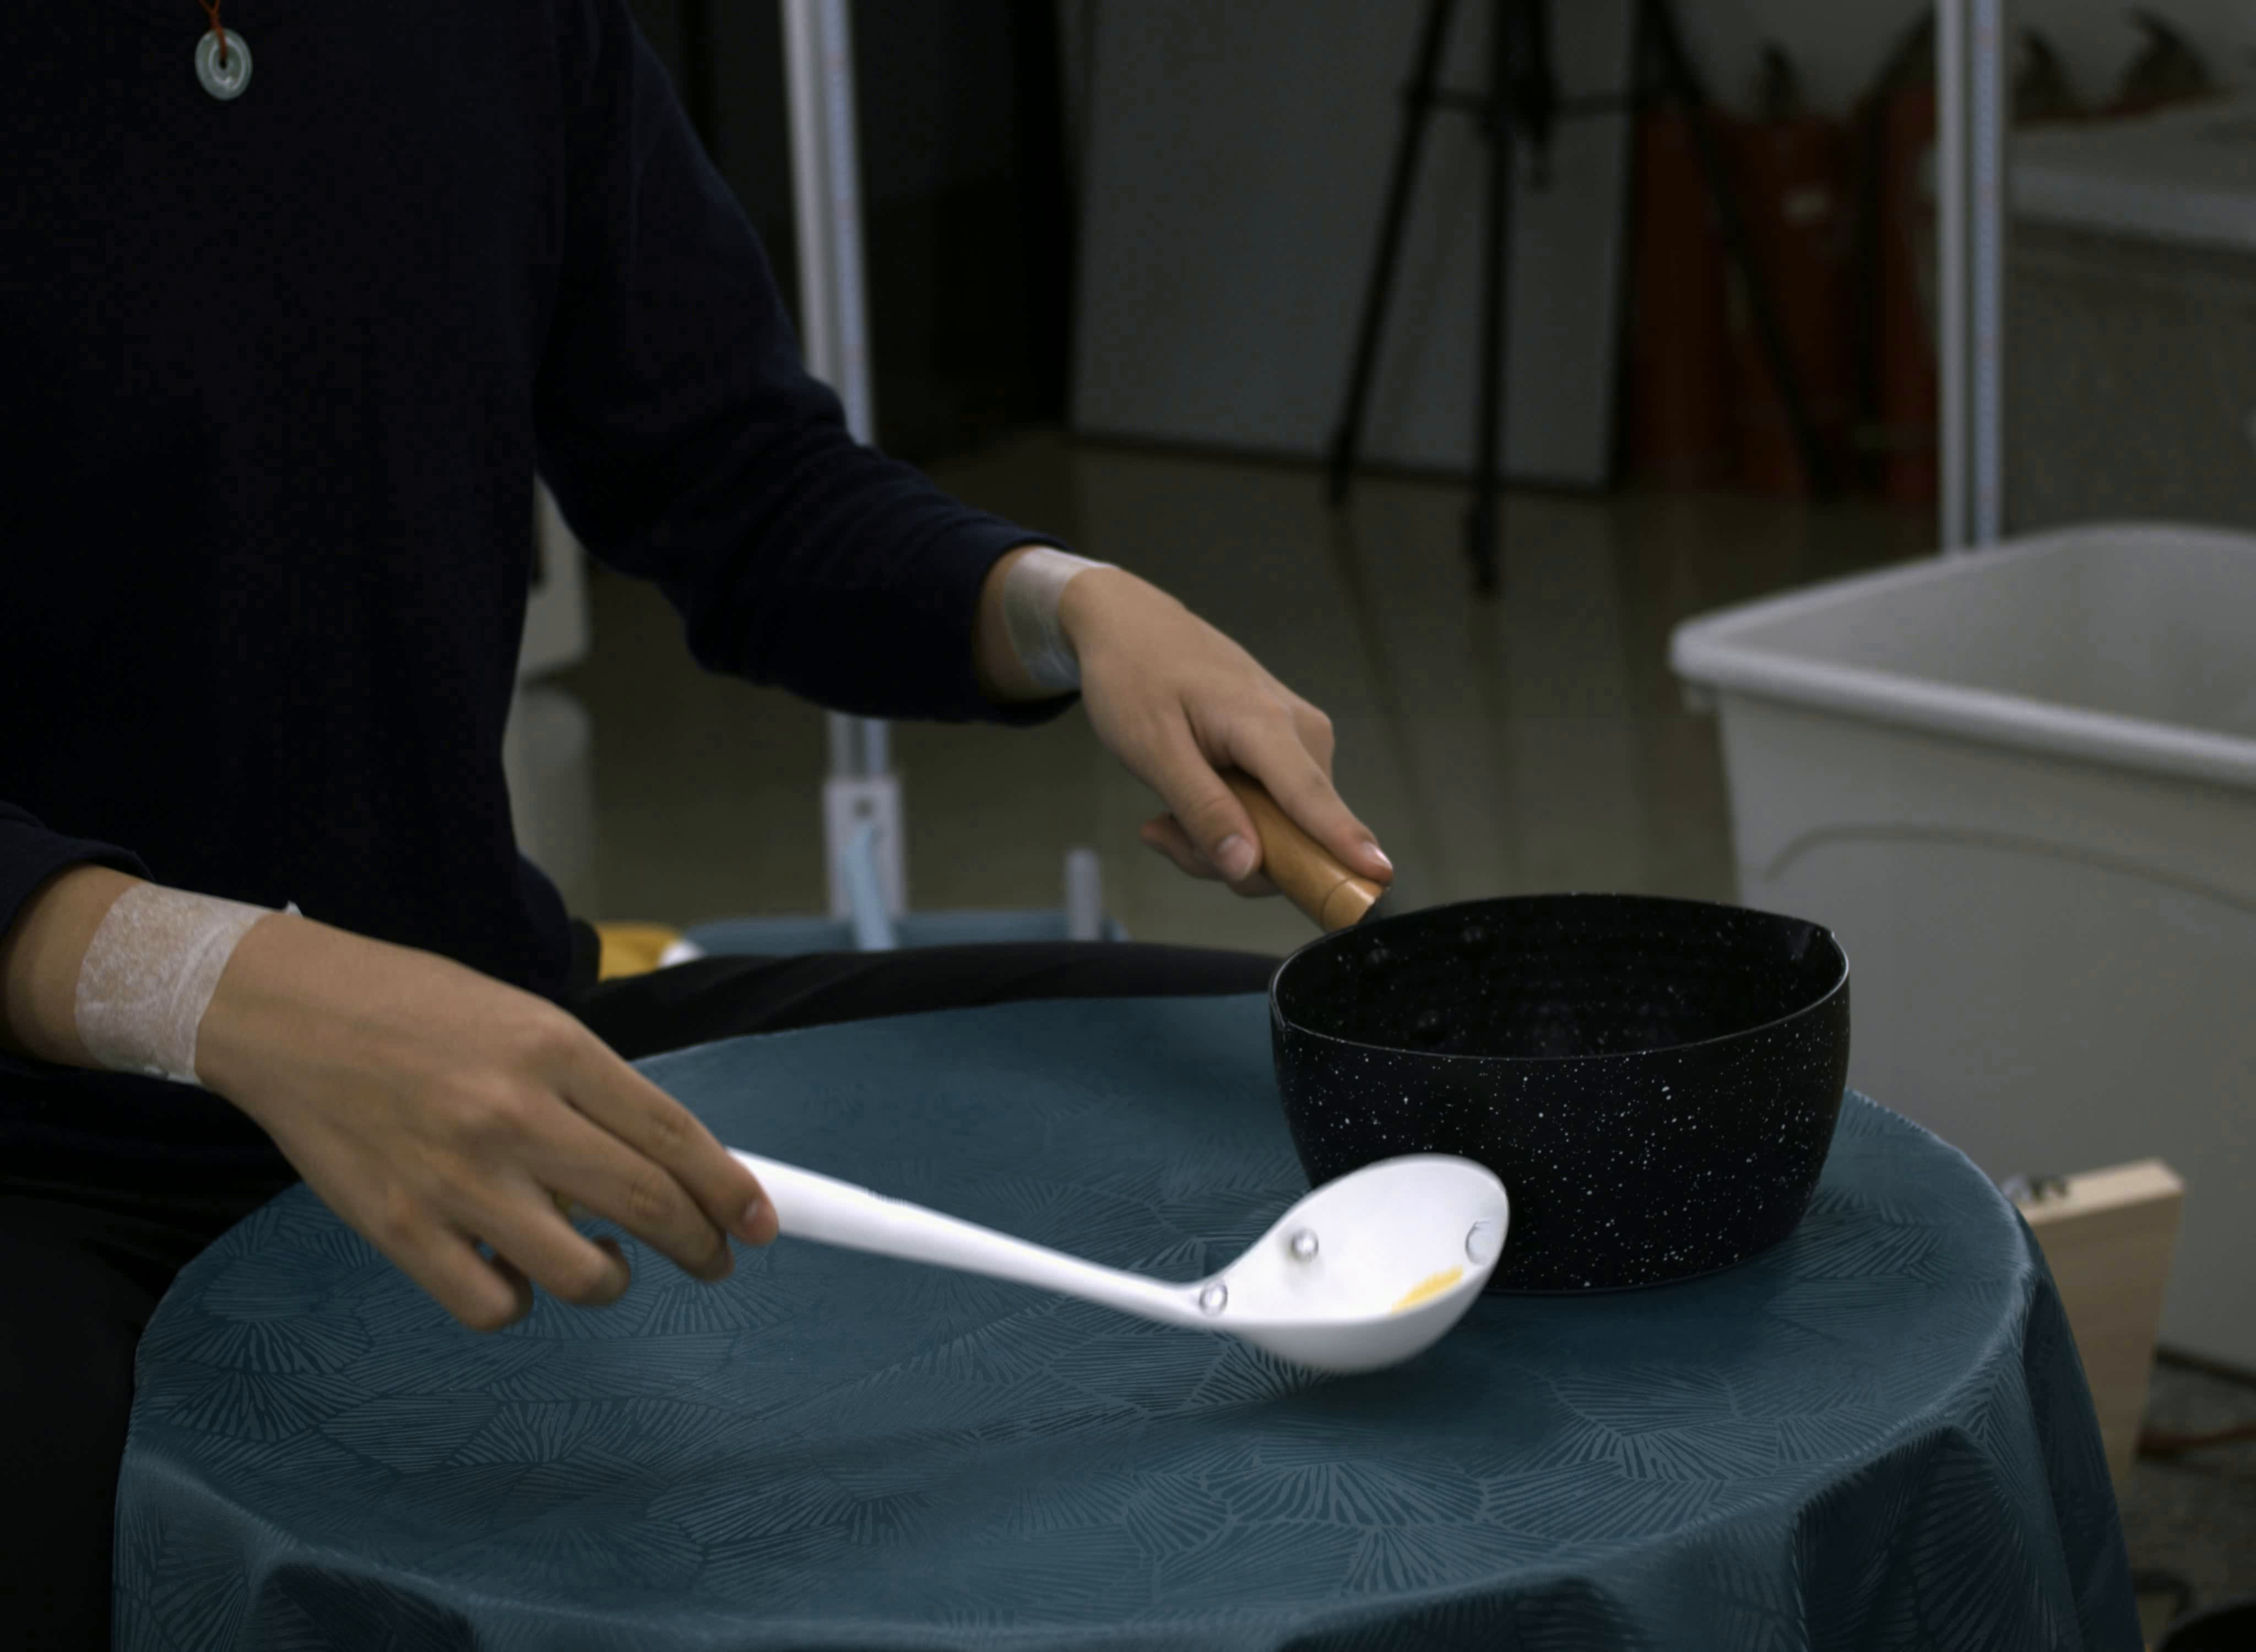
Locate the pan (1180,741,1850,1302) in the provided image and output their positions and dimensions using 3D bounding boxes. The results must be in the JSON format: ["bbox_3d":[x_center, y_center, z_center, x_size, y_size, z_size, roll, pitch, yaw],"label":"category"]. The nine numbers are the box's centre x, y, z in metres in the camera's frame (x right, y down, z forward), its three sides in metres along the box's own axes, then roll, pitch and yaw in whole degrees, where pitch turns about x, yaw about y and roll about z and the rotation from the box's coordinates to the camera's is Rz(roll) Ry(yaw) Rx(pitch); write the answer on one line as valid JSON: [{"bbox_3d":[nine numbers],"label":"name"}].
[{"bbox_3d":[0.101,0.058,1.768,0.203,0.109,0.346,-11,17,-24],"label":"pan"}]

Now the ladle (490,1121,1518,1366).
[{"bbox_3d":[-0.033,0.106,1.545,0.288,0.071,0.091,10,22,-11],"label":"ladle"}]
